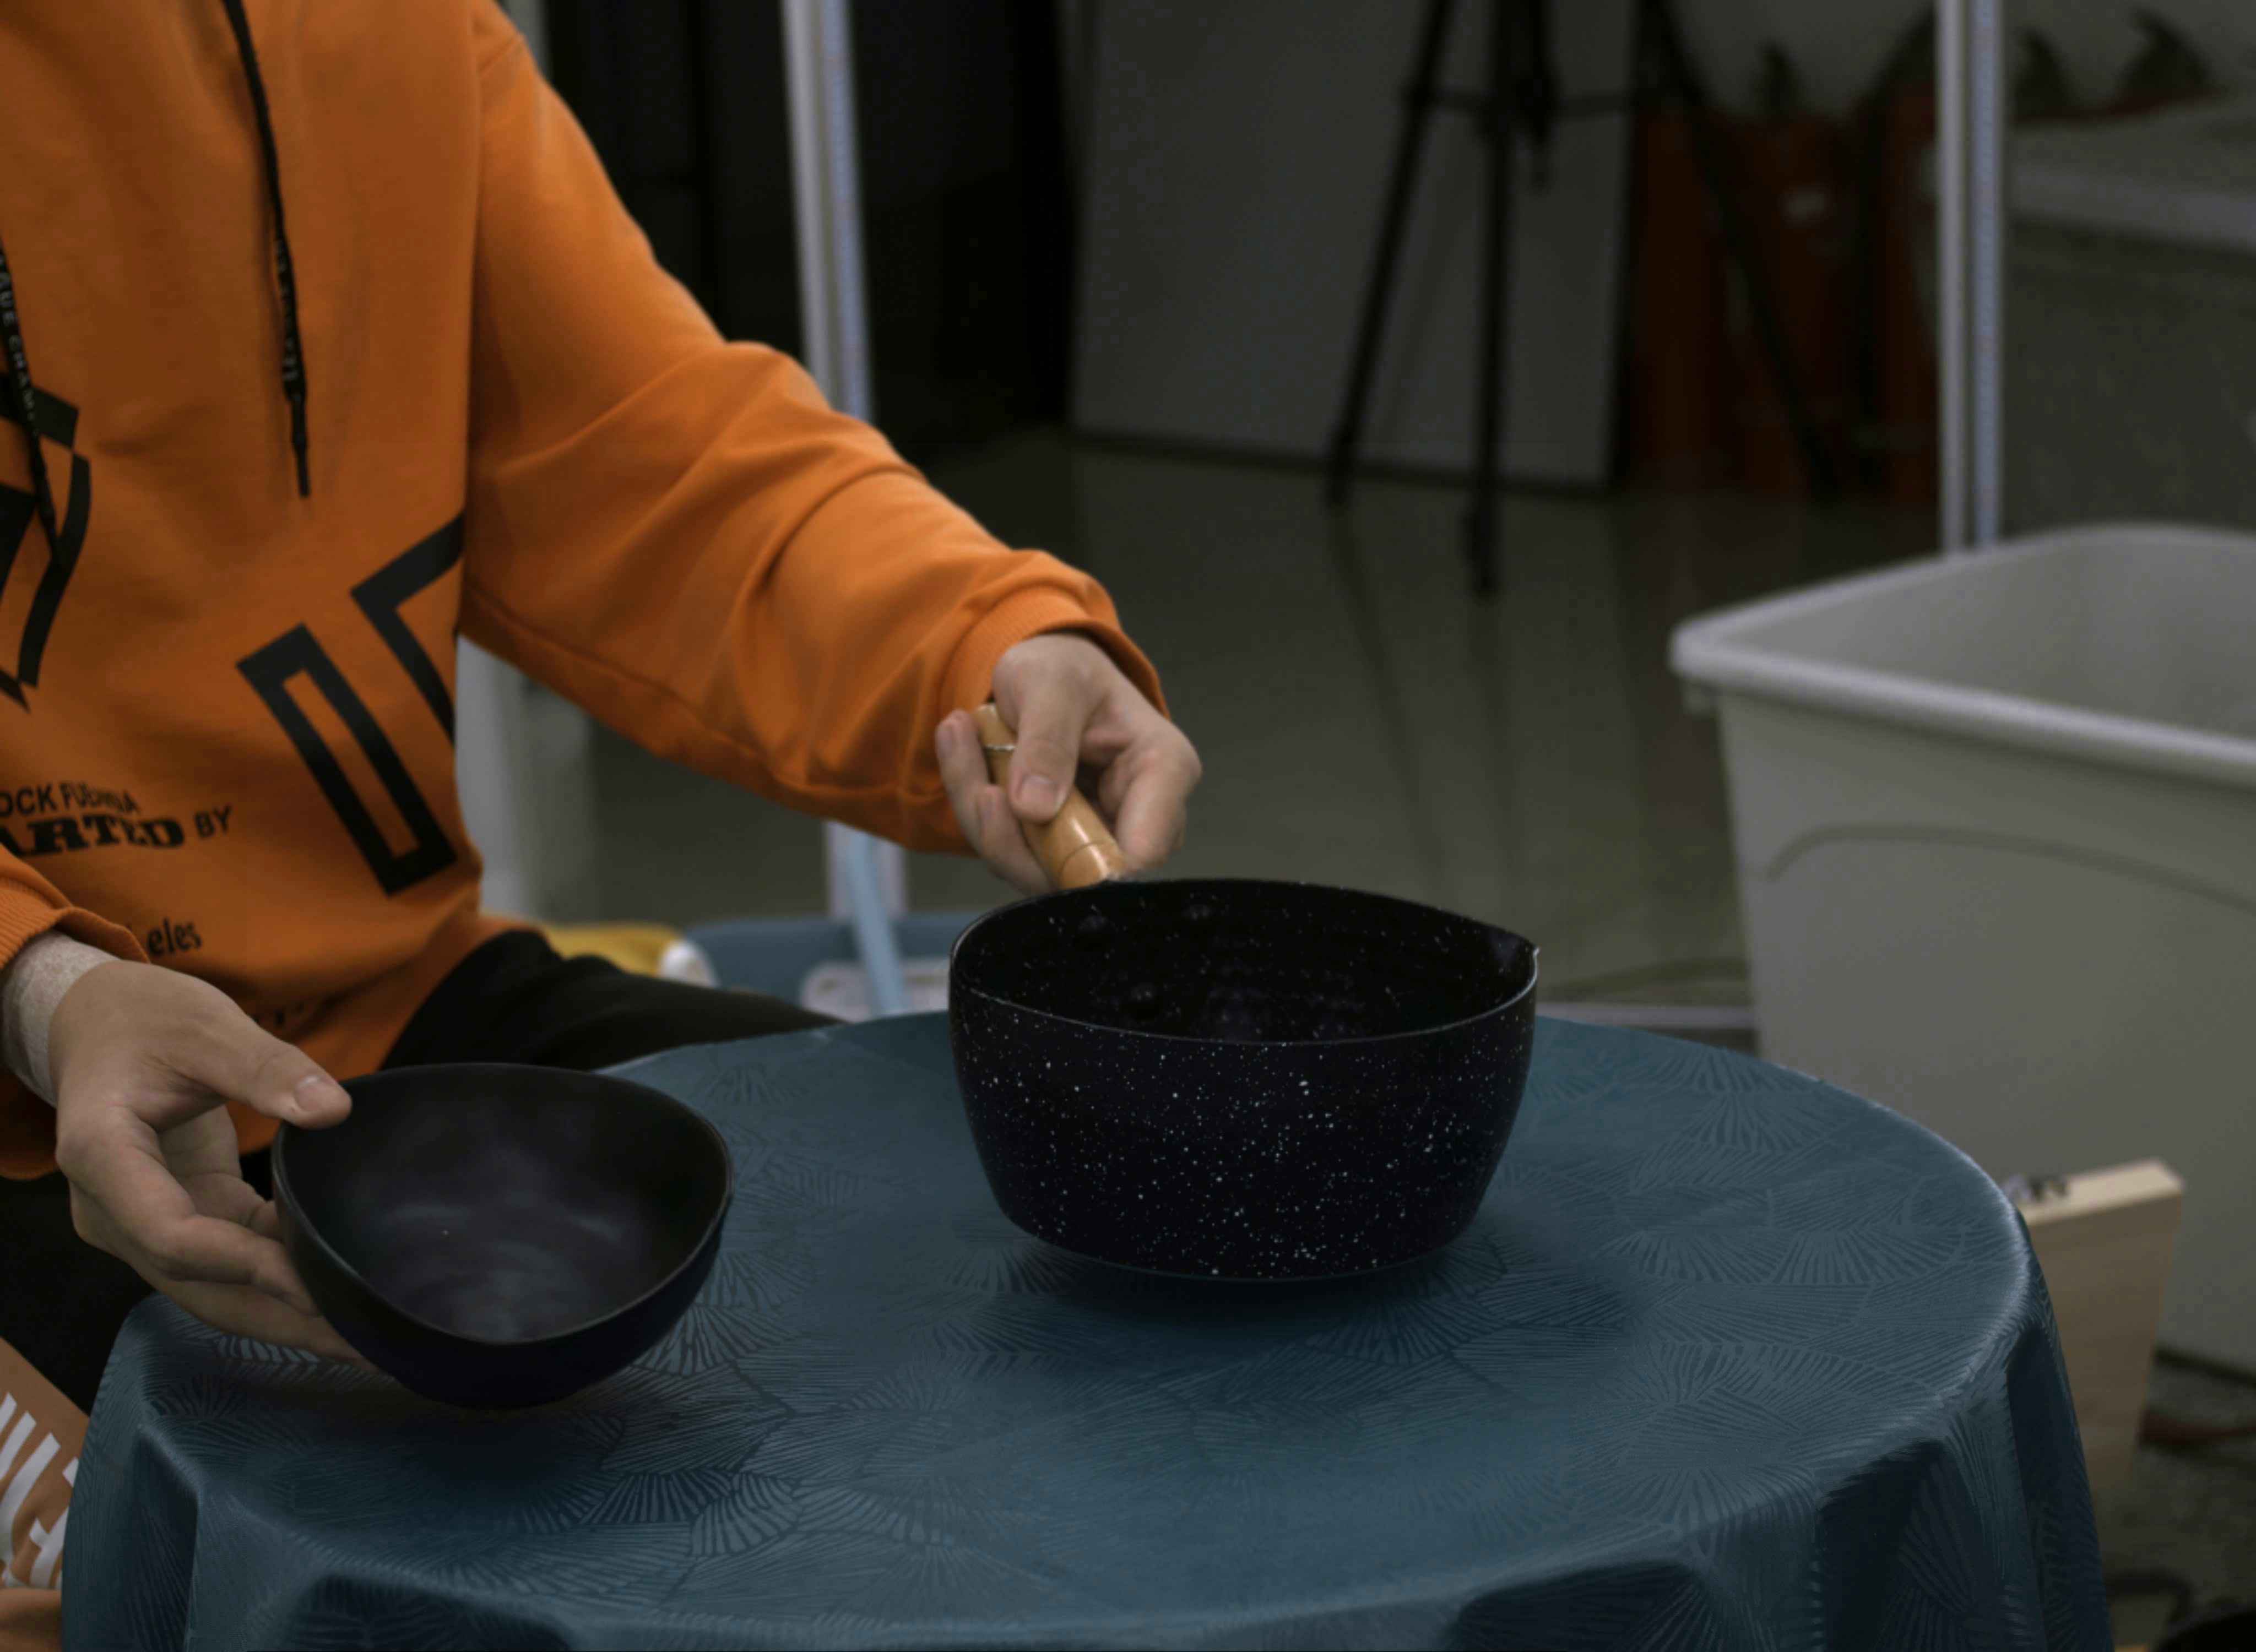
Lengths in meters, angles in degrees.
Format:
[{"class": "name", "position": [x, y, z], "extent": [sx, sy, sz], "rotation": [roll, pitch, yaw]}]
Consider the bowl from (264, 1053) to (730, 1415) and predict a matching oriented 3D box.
[{"class": "bowl", "position": [-0.186, 0.128, 1.595], "extent": [0.135, 0.067, 0.171], "rotation": [1, 24, -10]}]

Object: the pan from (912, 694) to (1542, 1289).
[{"class": "pan", "position": [0.007, 0.049, 1.755], "extent": [0.203, 0.109, 0.346], "rotation": [-5, 17, -20]}]
